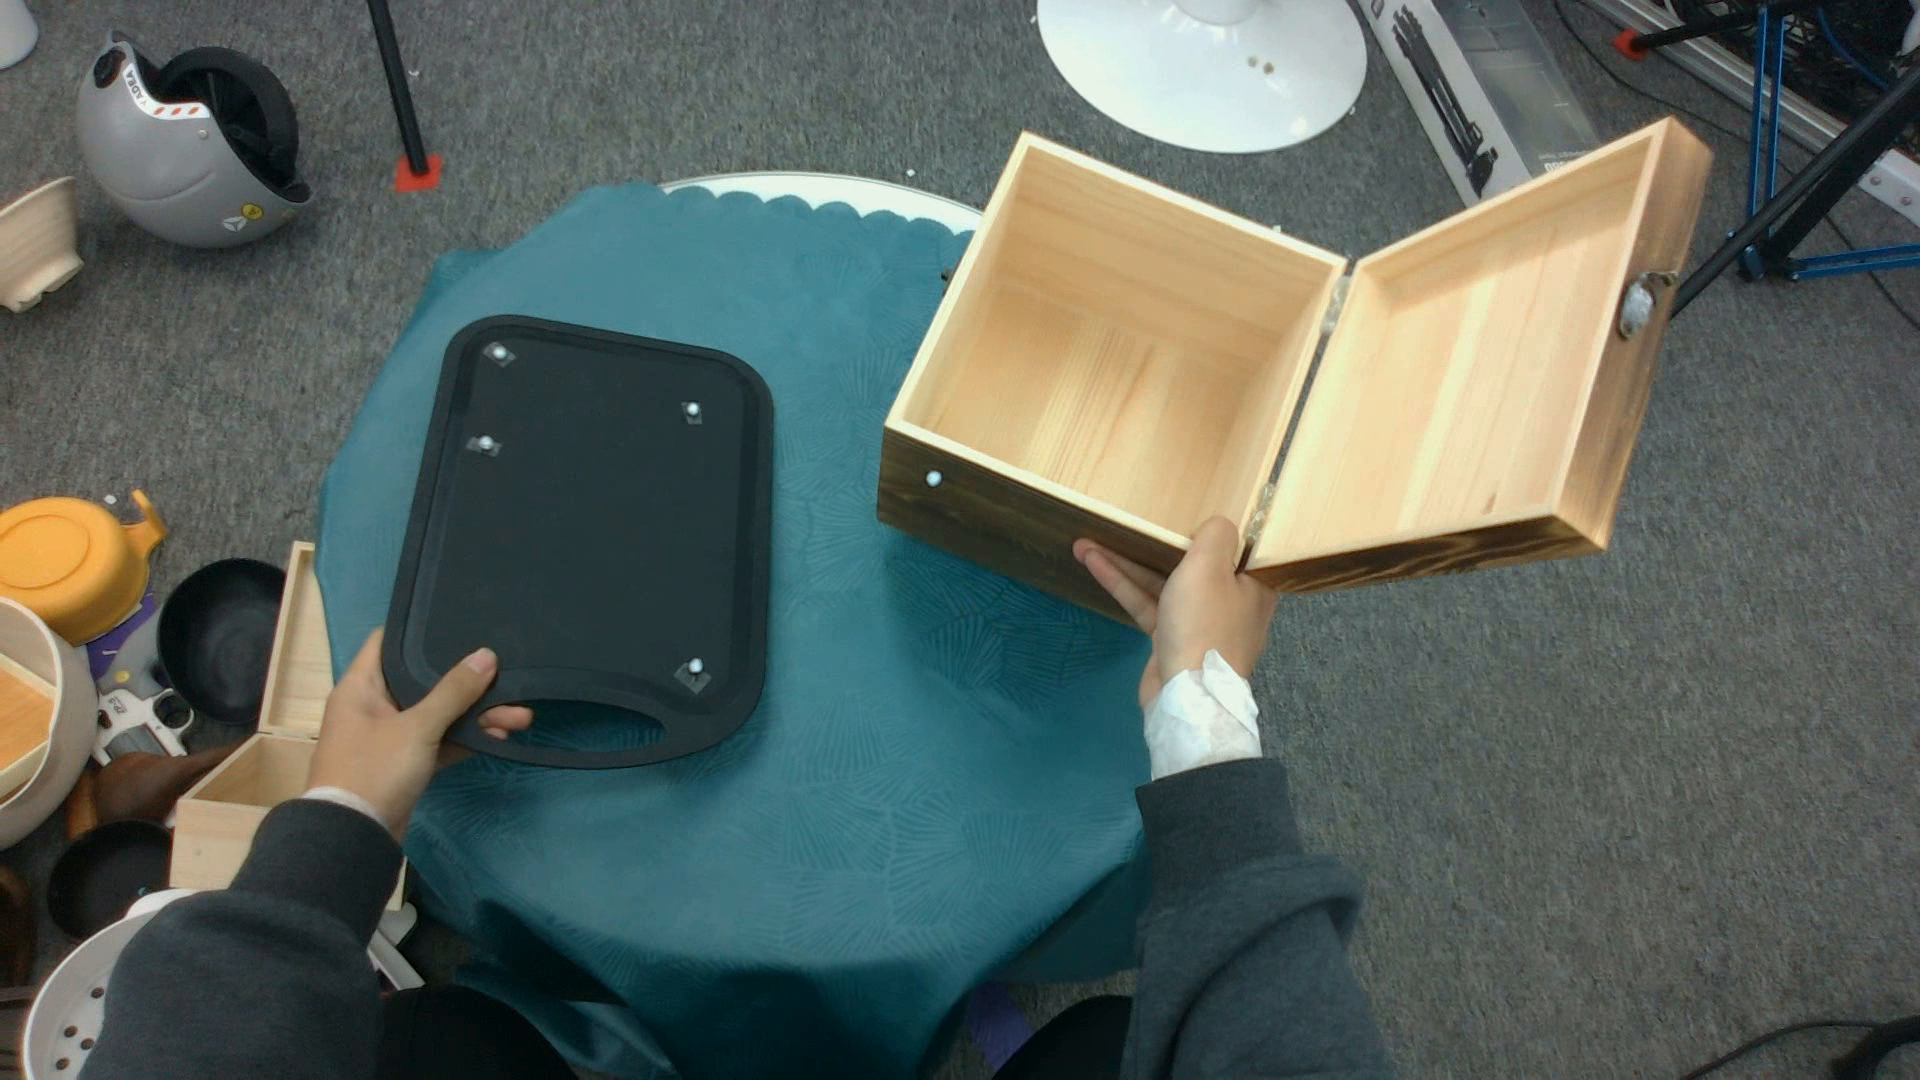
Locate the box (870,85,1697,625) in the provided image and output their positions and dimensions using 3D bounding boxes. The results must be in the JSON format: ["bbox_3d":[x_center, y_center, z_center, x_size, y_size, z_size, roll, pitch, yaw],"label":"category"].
[{"bbox_3d":[0.135,-0.104,0.733,0.322,0.374,0.209,23,73,1],"label":"box"}]

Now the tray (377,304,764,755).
[{"bbox_3d":[-0.225,-0.017,0.840,0.211,0.010,0.327,8,53,-17],"label":"tray"}]
